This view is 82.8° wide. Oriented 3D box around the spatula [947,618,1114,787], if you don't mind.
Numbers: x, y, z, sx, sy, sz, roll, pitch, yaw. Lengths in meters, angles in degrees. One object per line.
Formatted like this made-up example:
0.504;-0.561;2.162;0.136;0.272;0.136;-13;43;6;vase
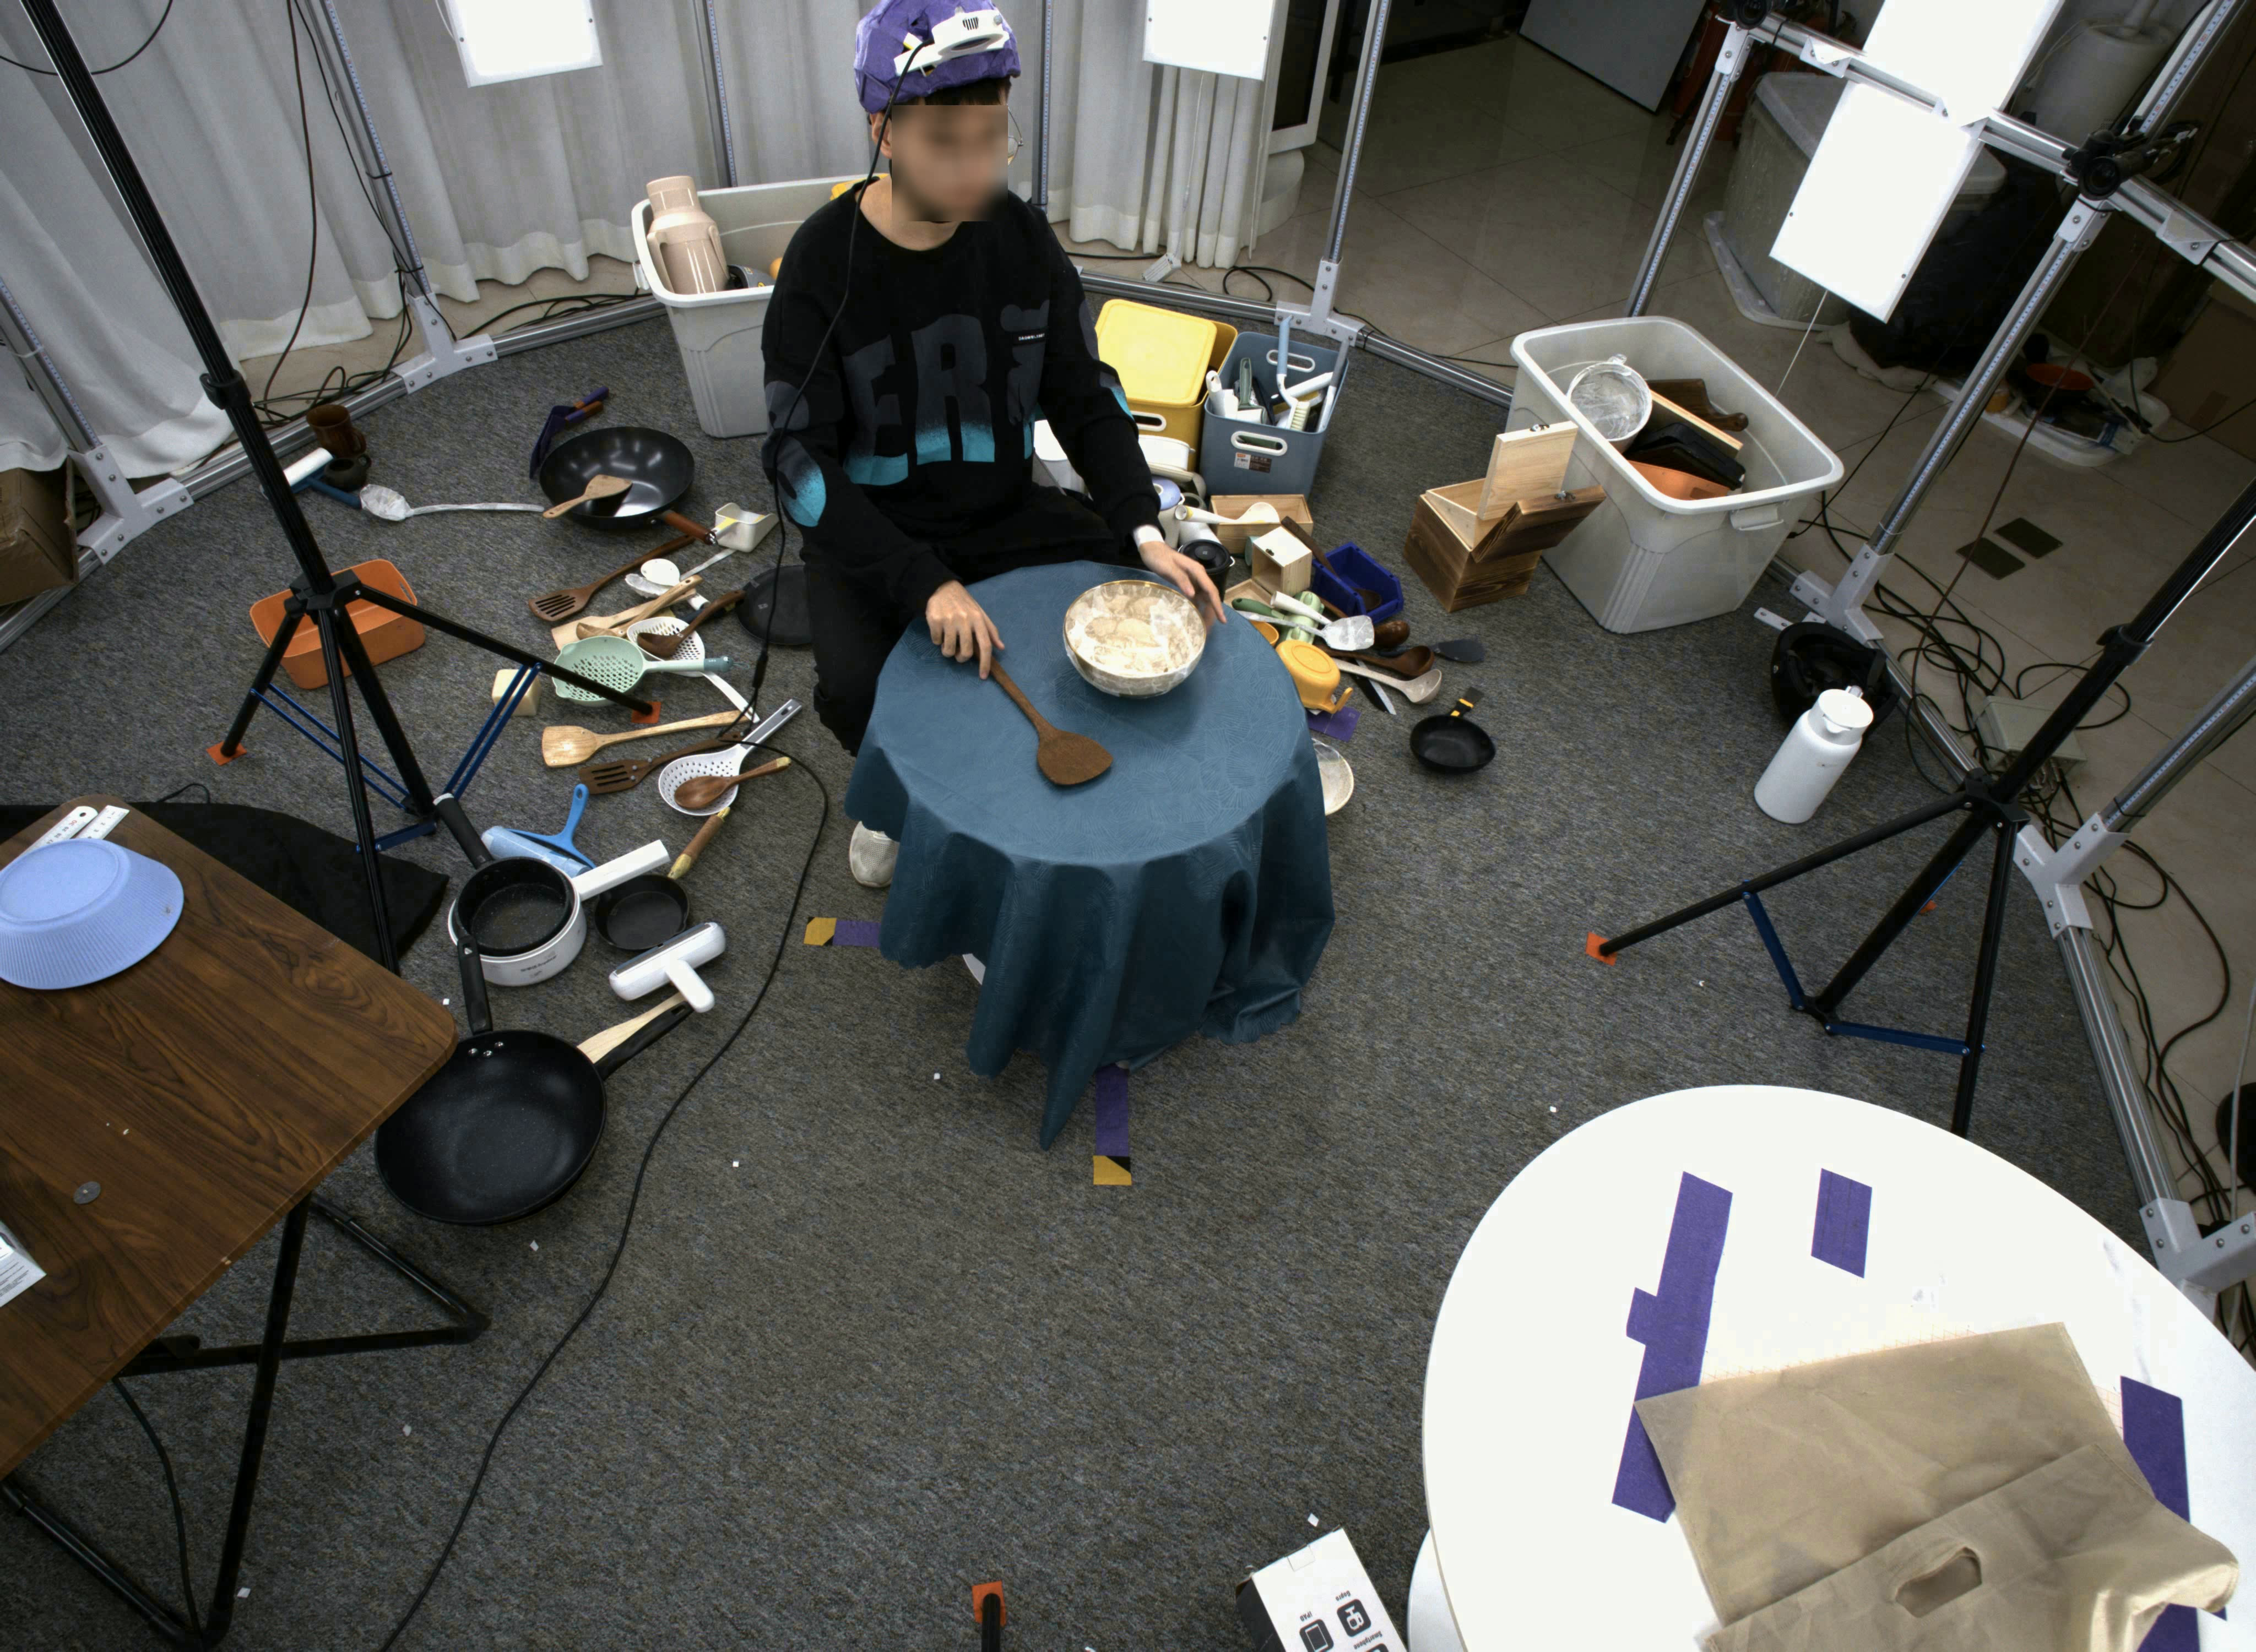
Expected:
-0.157;-0.186;1.827;0.096;0.015;0.393;-25;55;-24;spatula

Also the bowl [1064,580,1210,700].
0.010;-0.252;1.844;0.214;0.092;0.220;1;49;-1;bowl
